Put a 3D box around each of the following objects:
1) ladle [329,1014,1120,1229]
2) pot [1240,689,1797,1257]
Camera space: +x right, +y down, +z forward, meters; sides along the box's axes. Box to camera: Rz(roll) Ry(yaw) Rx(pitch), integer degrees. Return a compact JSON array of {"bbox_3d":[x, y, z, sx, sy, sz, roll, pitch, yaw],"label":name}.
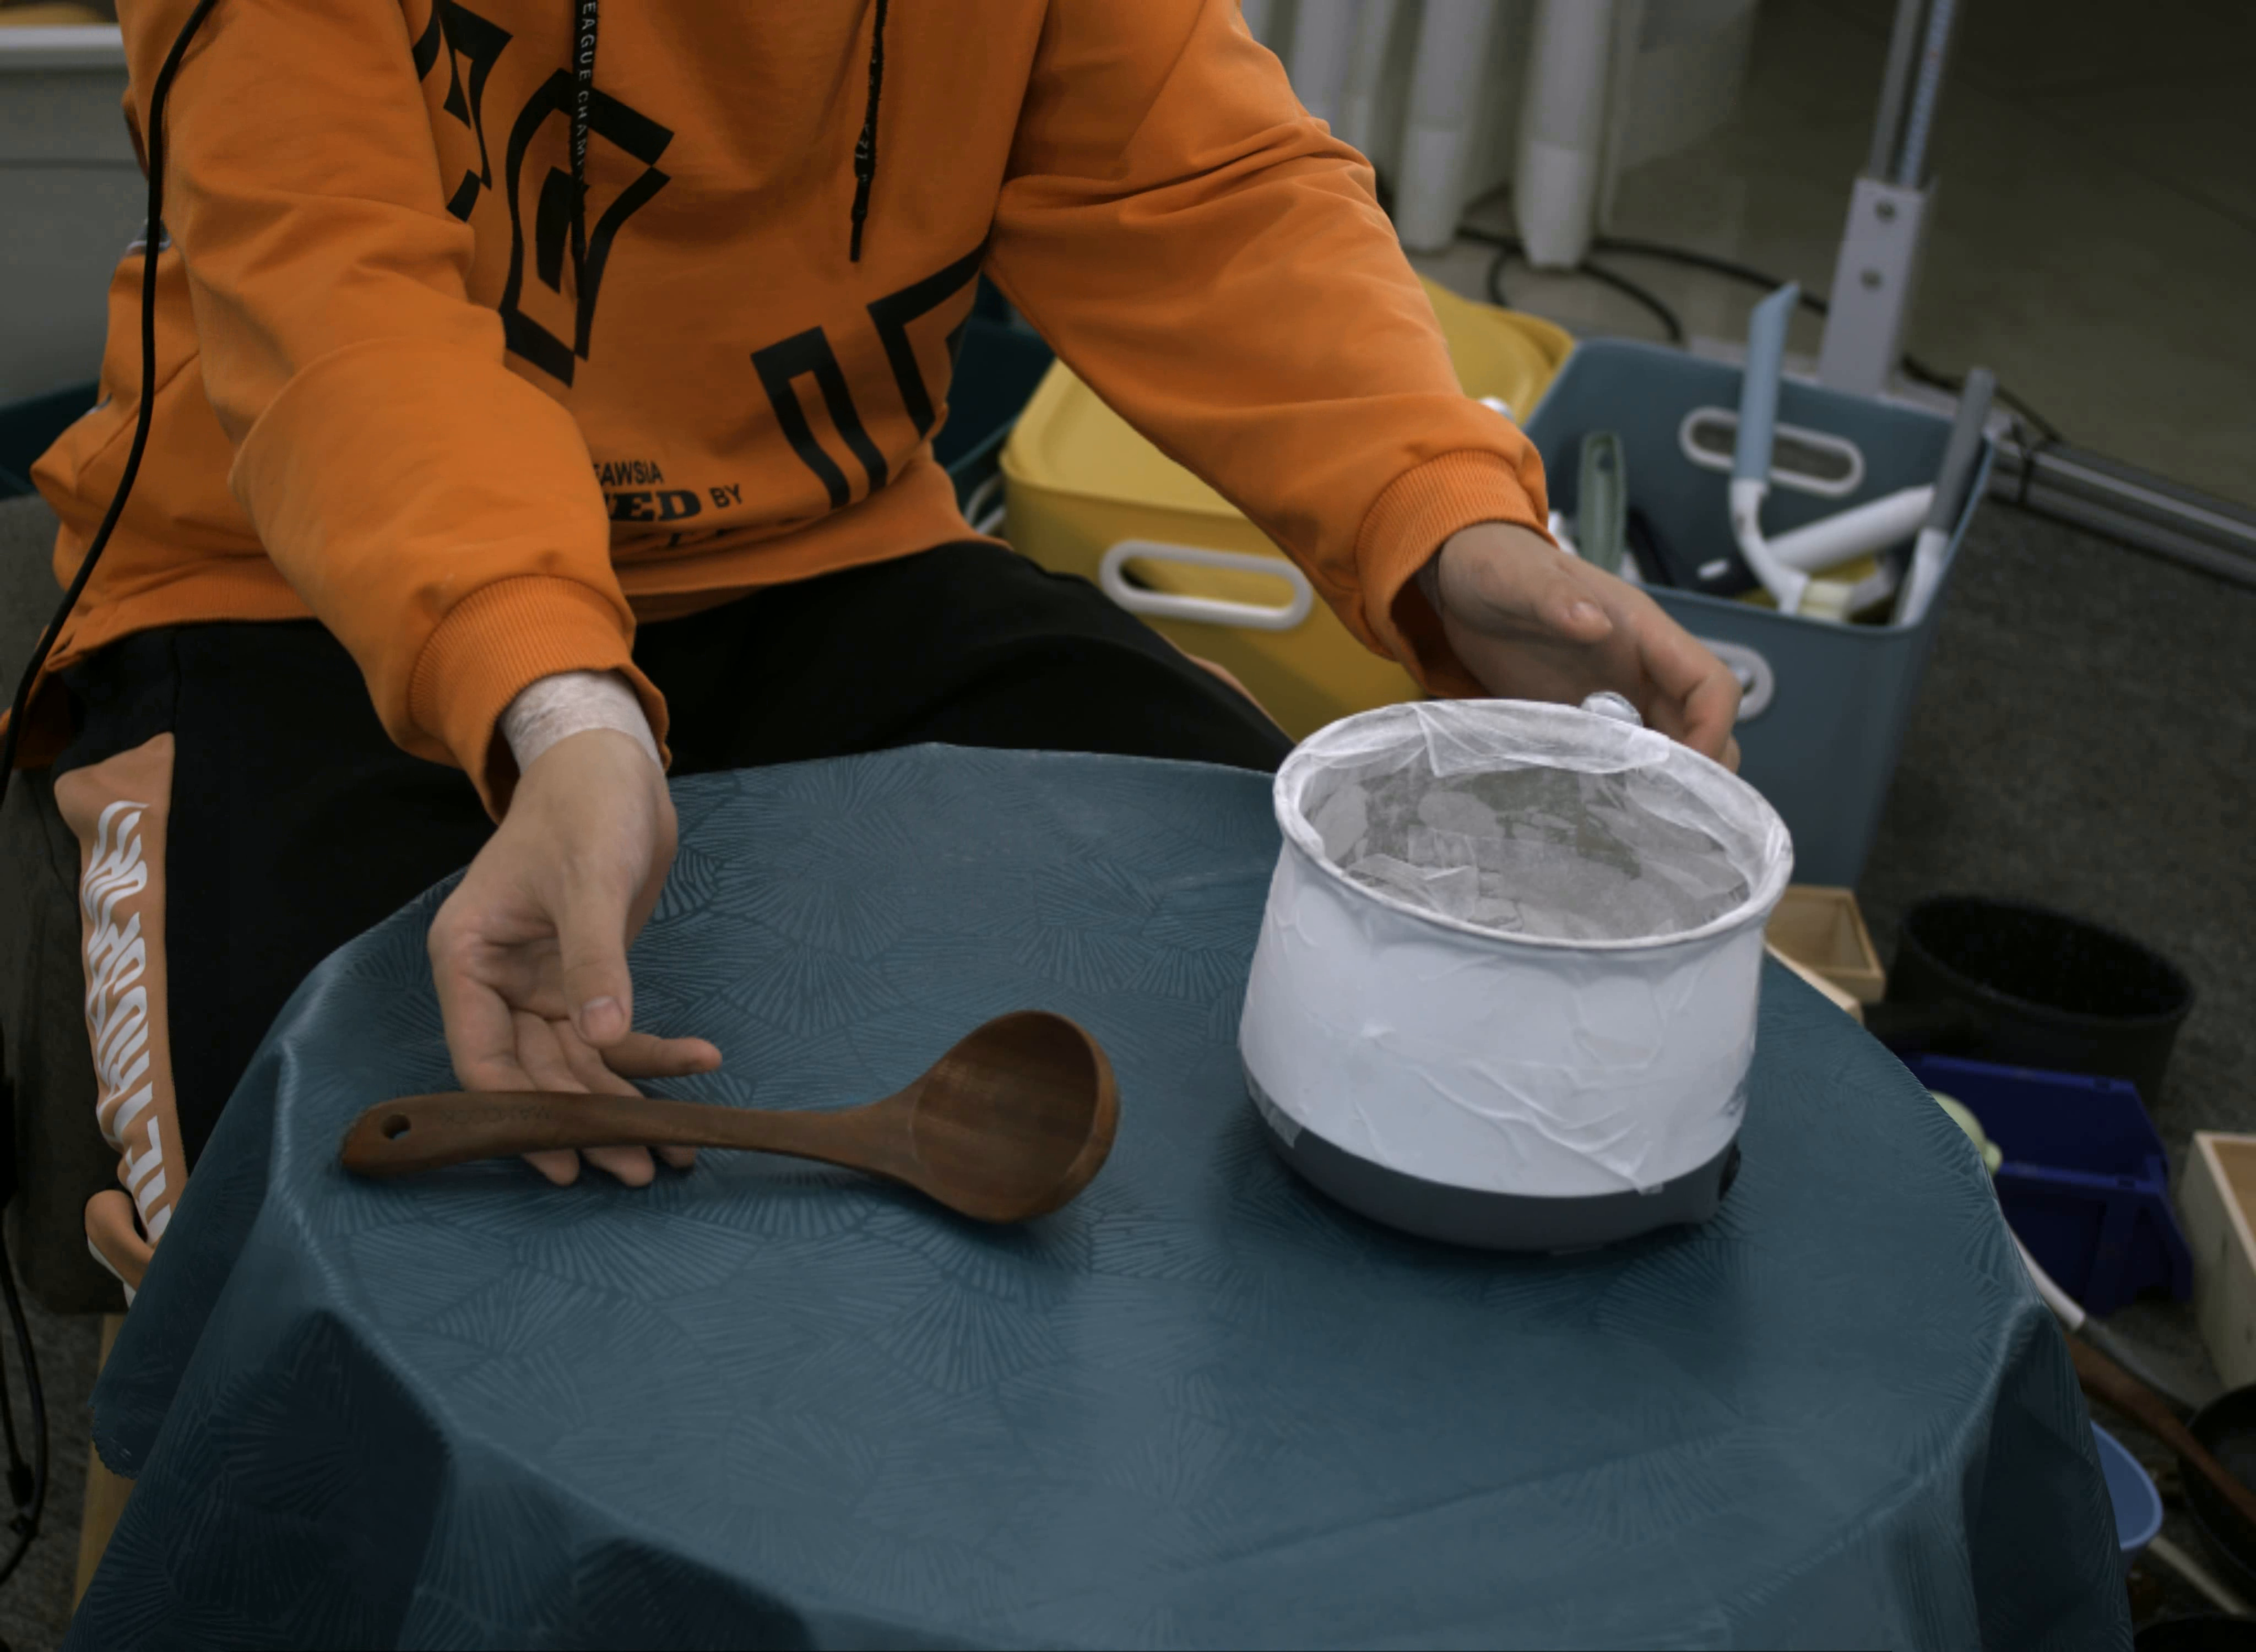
[{"bbox_3d":[-0.132,0.096,1.761,0.259,0.065,0.077,2,53,-9],"label":"ladle"},{"bbox_3d":[0.138,0.041,1.843,0.179,0.136,0.234,14,28,13],"label":"pot"}]
